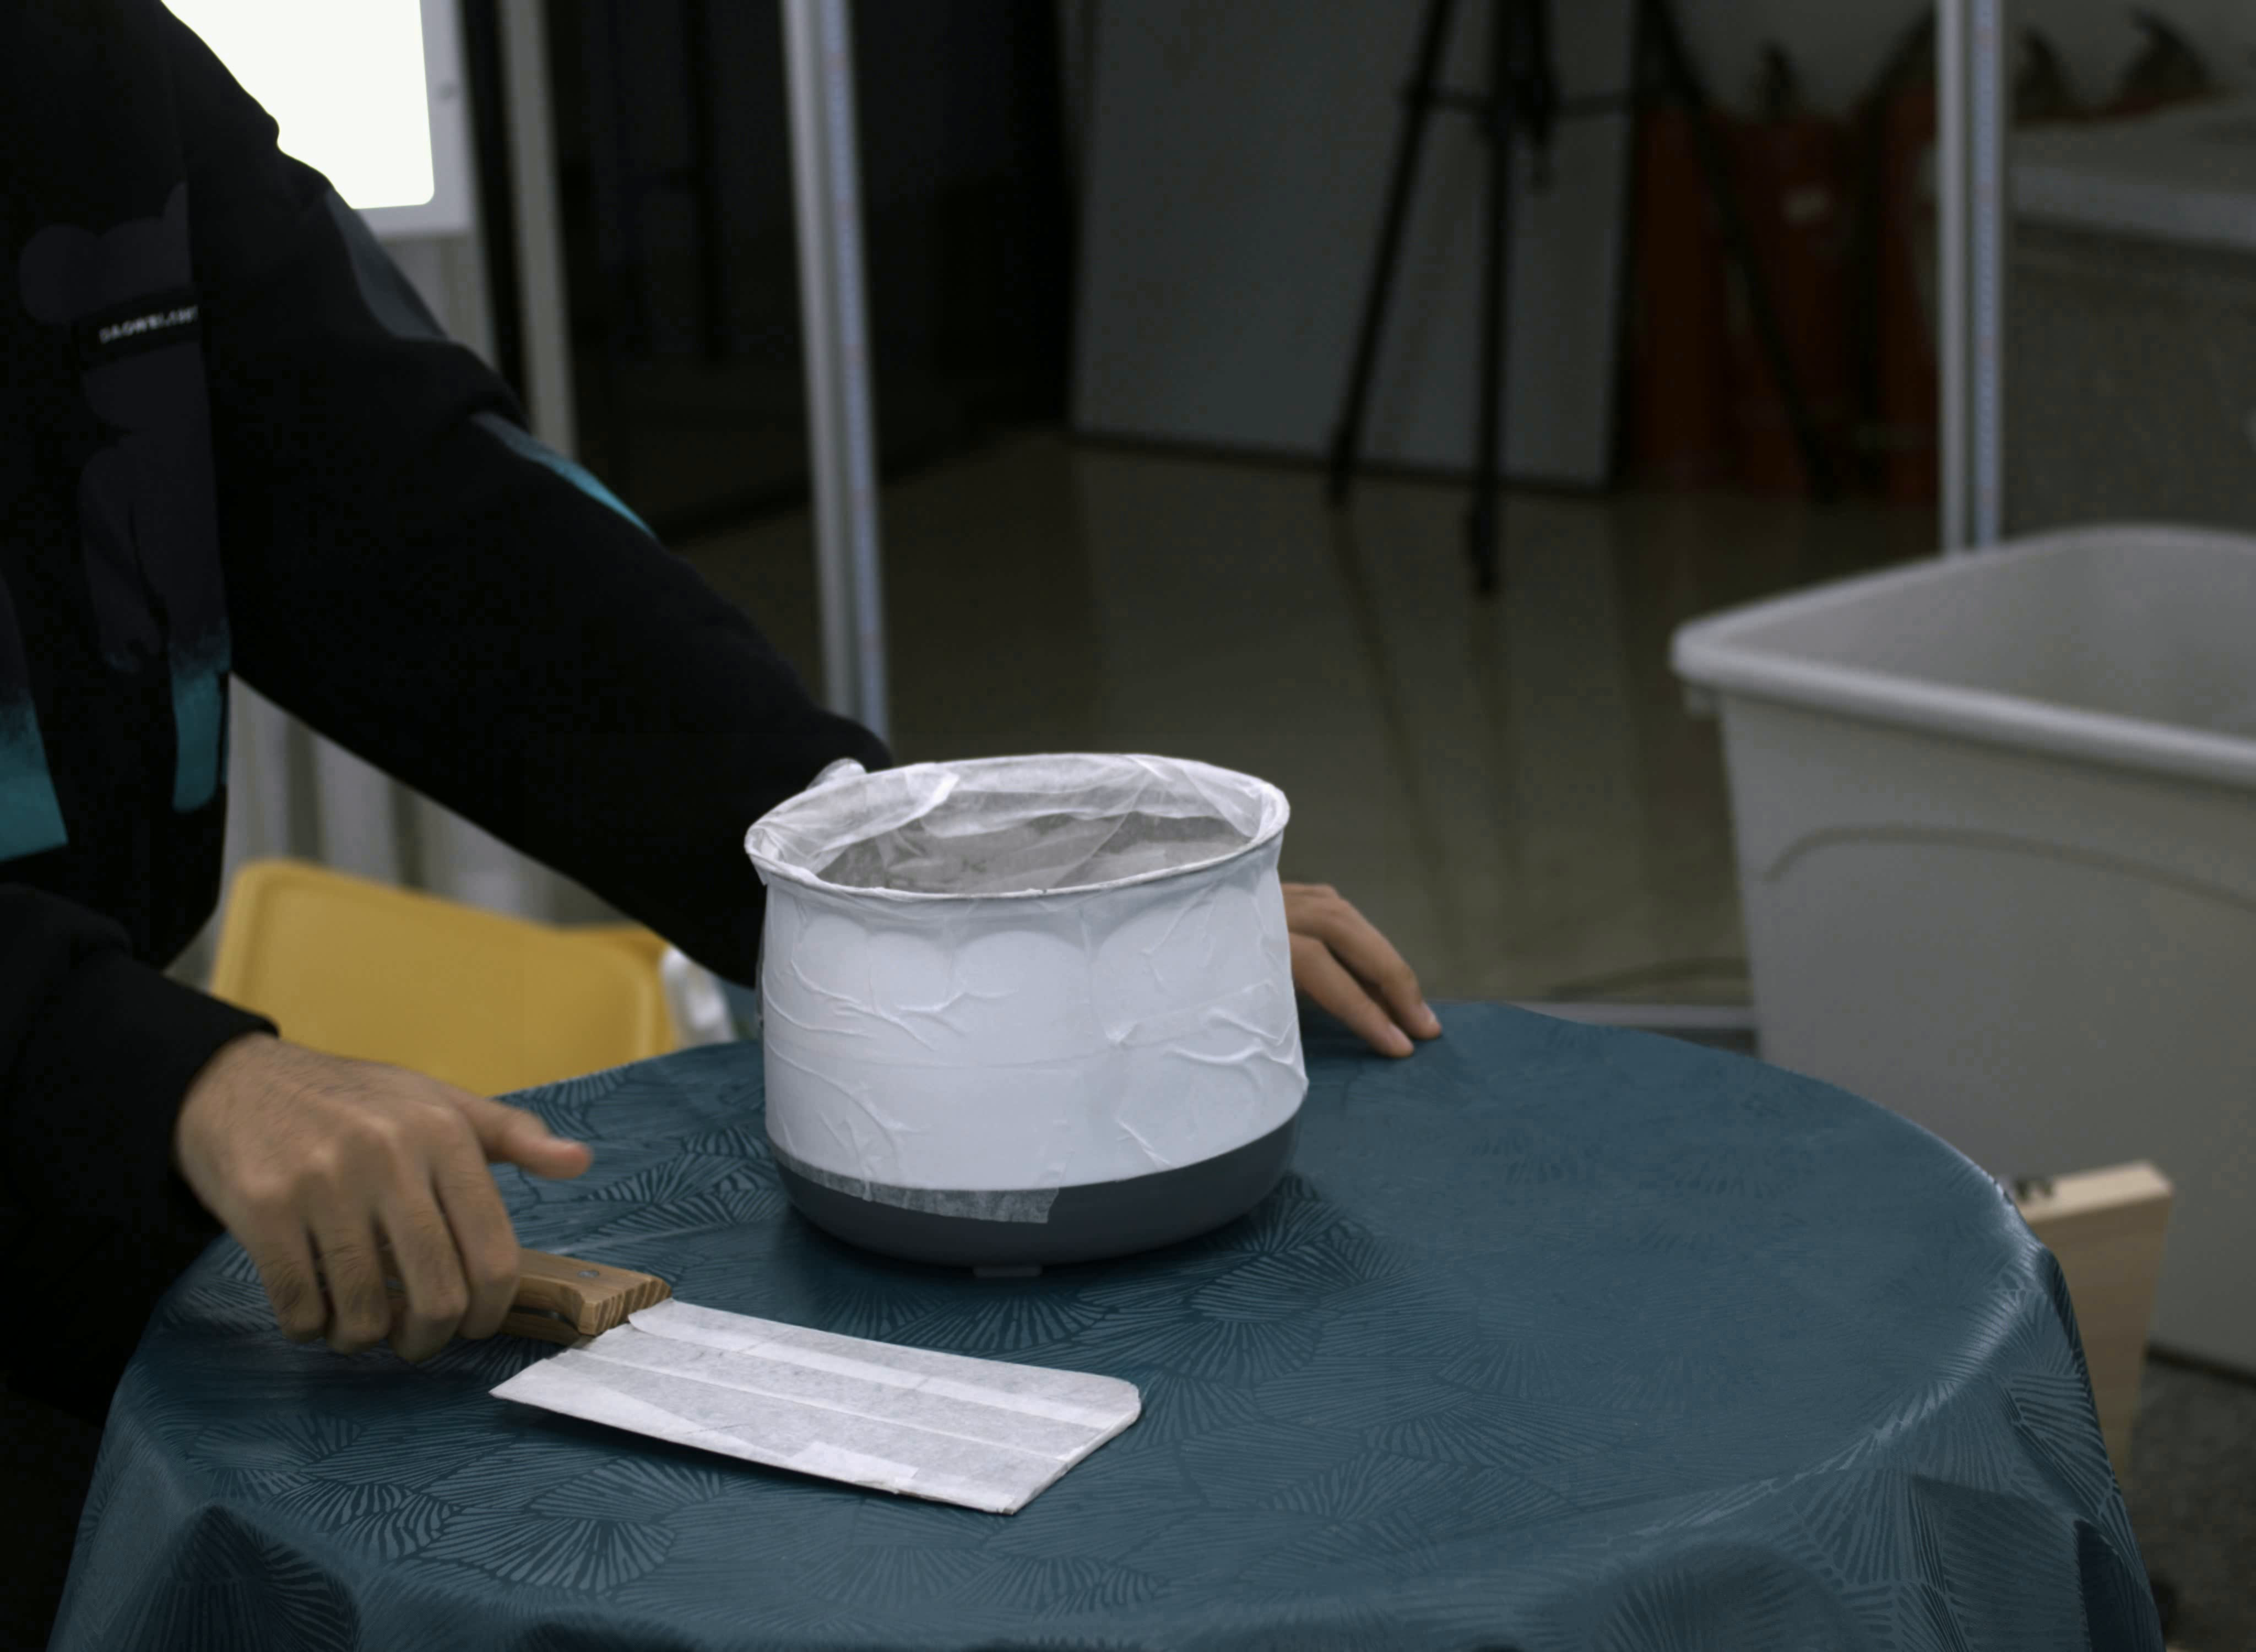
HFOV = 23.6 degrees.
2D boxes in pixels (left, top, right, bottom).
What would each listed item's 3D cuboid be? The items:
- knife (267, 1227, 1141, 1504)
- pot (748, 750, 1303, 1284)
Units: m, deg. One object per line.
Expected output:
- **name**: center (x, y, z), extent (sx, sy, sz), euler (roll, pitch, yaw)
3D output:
- **knife**: center (-0.135, 0.159, 1.619), extent (0.317, 0.022, 0.112), euler (9, 19, 35)
- **pot**: center (-0.049, 0.055, 1.765), extent (0.175, 0.138, 0.236), euler (-13, 17, -35)
